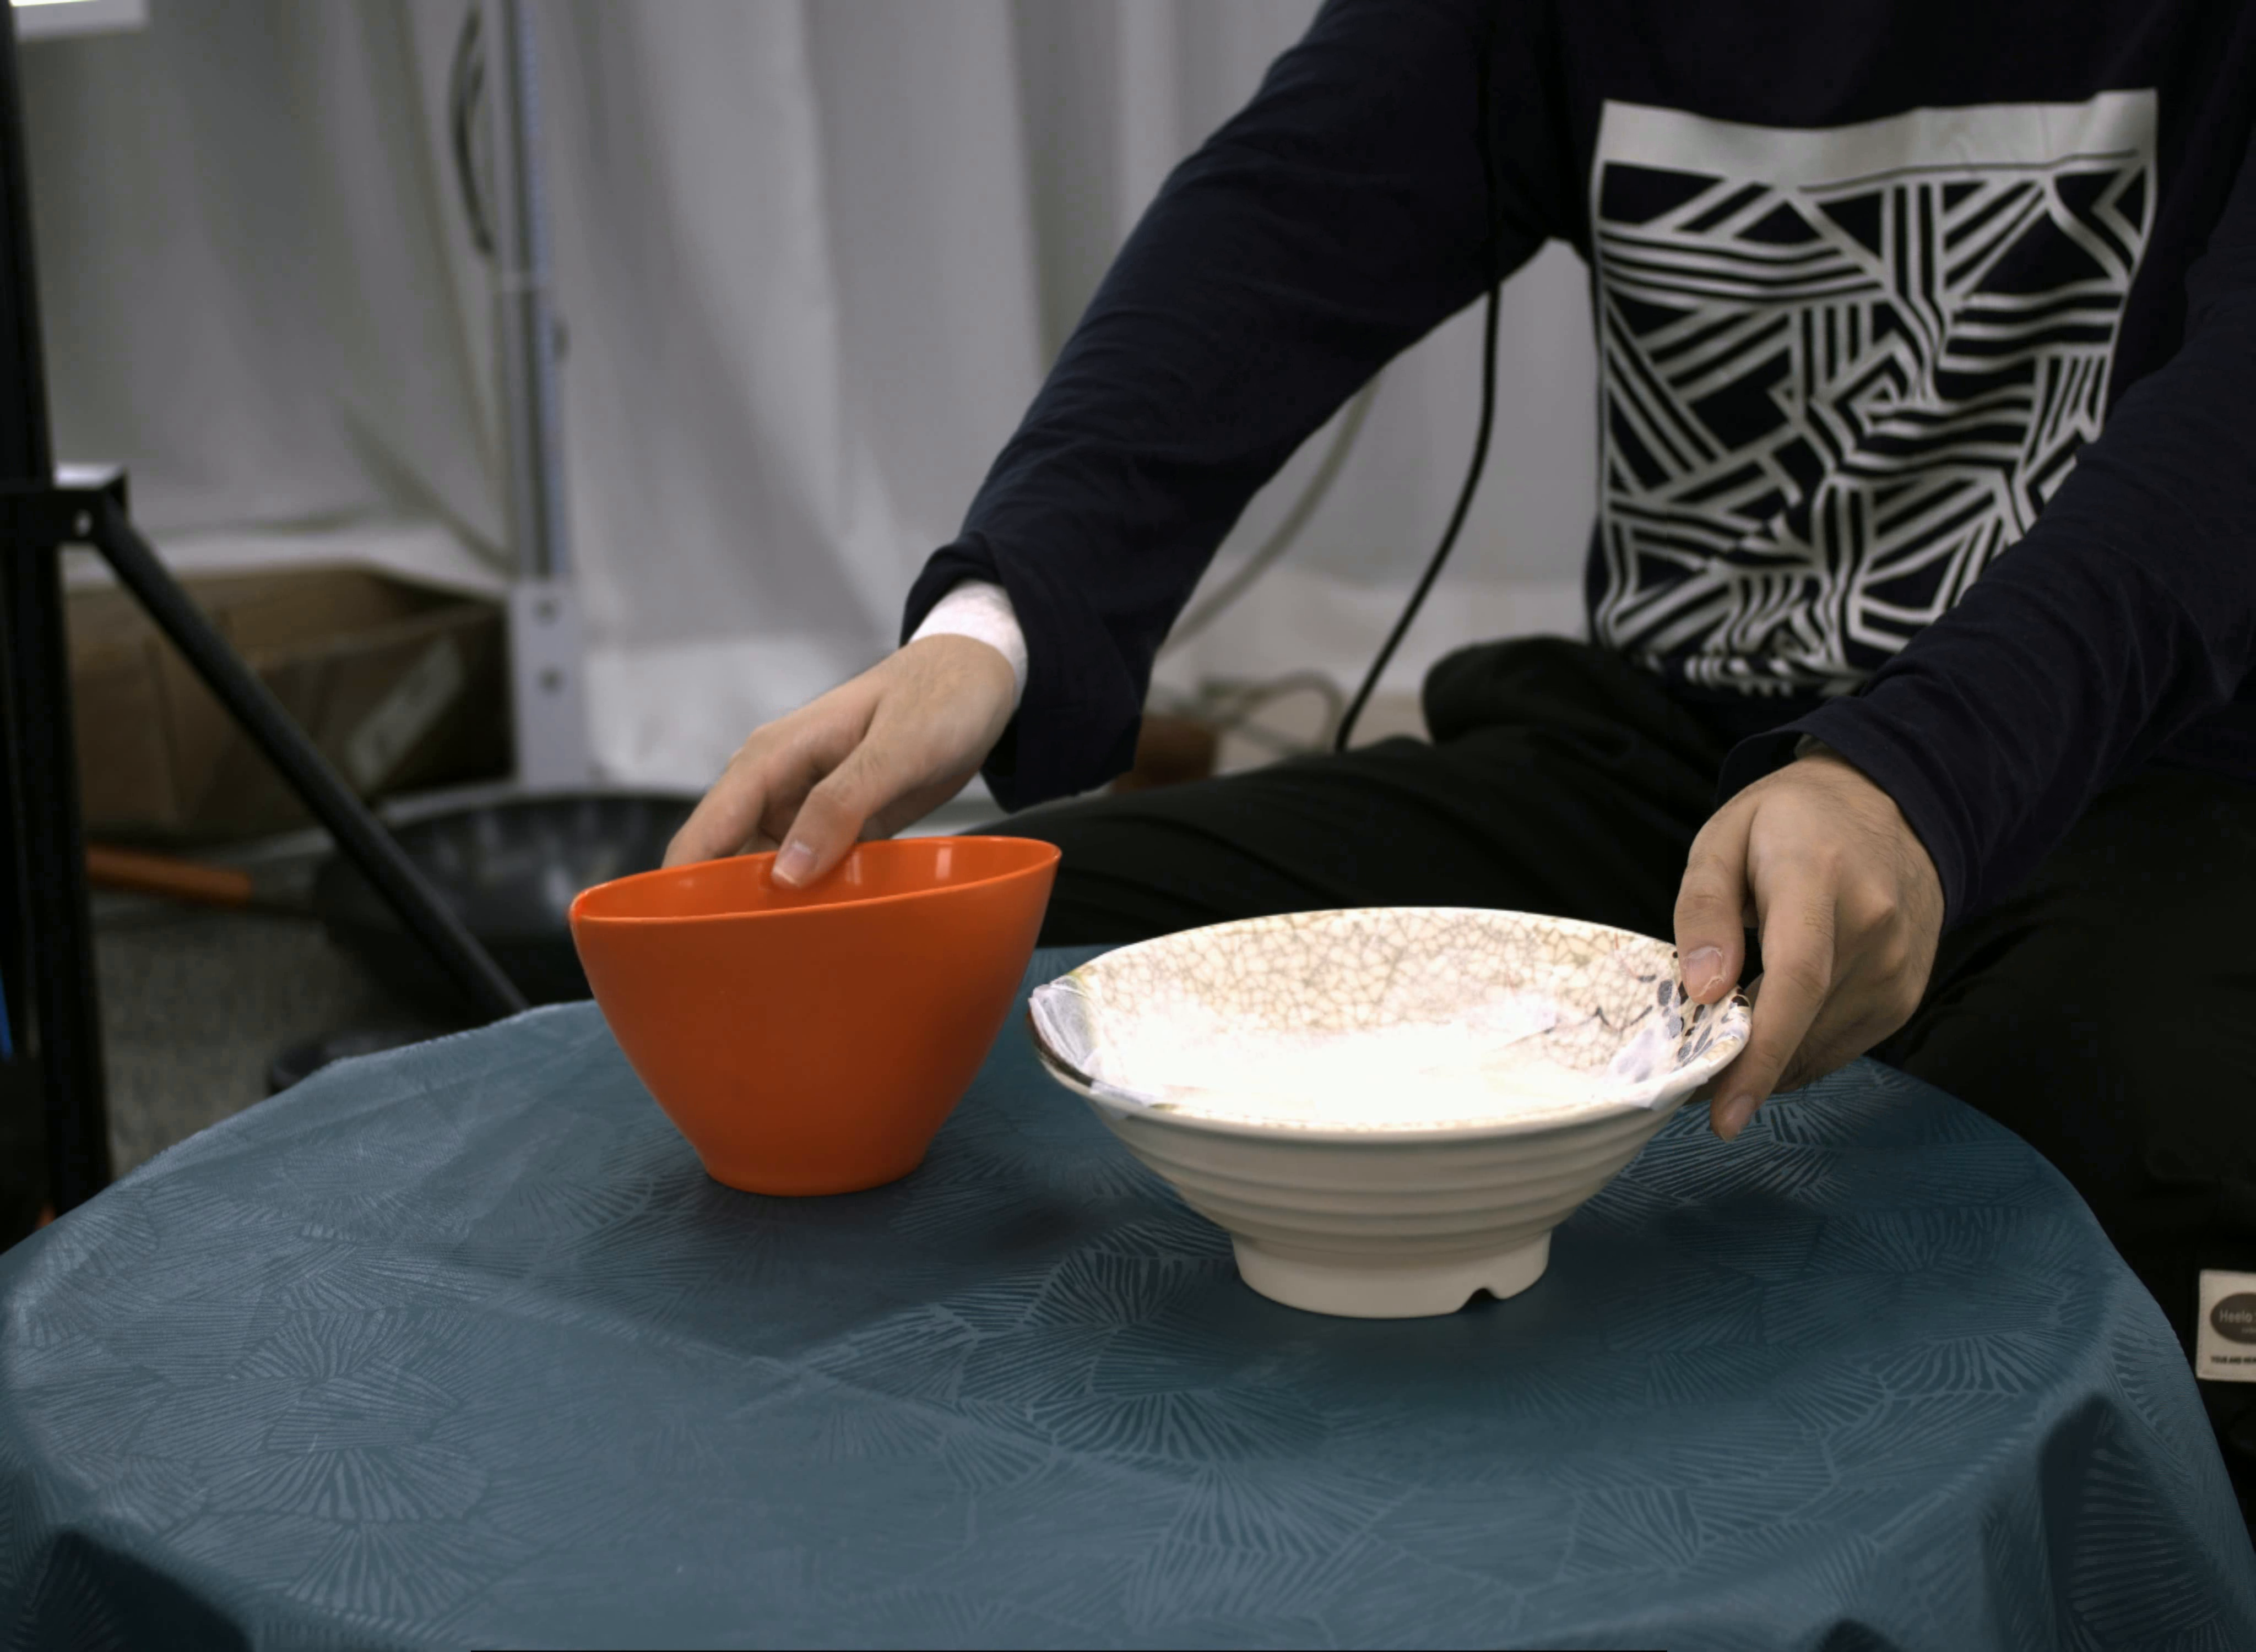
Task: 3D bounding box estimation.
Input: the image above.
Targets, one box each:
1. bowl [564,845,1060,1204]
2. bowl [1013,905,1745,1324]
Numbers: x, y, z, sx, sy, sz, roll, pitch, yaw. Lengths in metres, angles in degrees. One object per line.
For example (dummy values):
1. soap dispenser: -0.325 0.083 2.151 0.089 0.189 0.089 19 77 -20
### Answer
1. bowl: -0.092 0.056 1.580 0.147 0.105 0.149 -2 14 -1
2. bowl: 0.070 0.088 1.482 0.203 0.078 0.205 -1 15 -1
